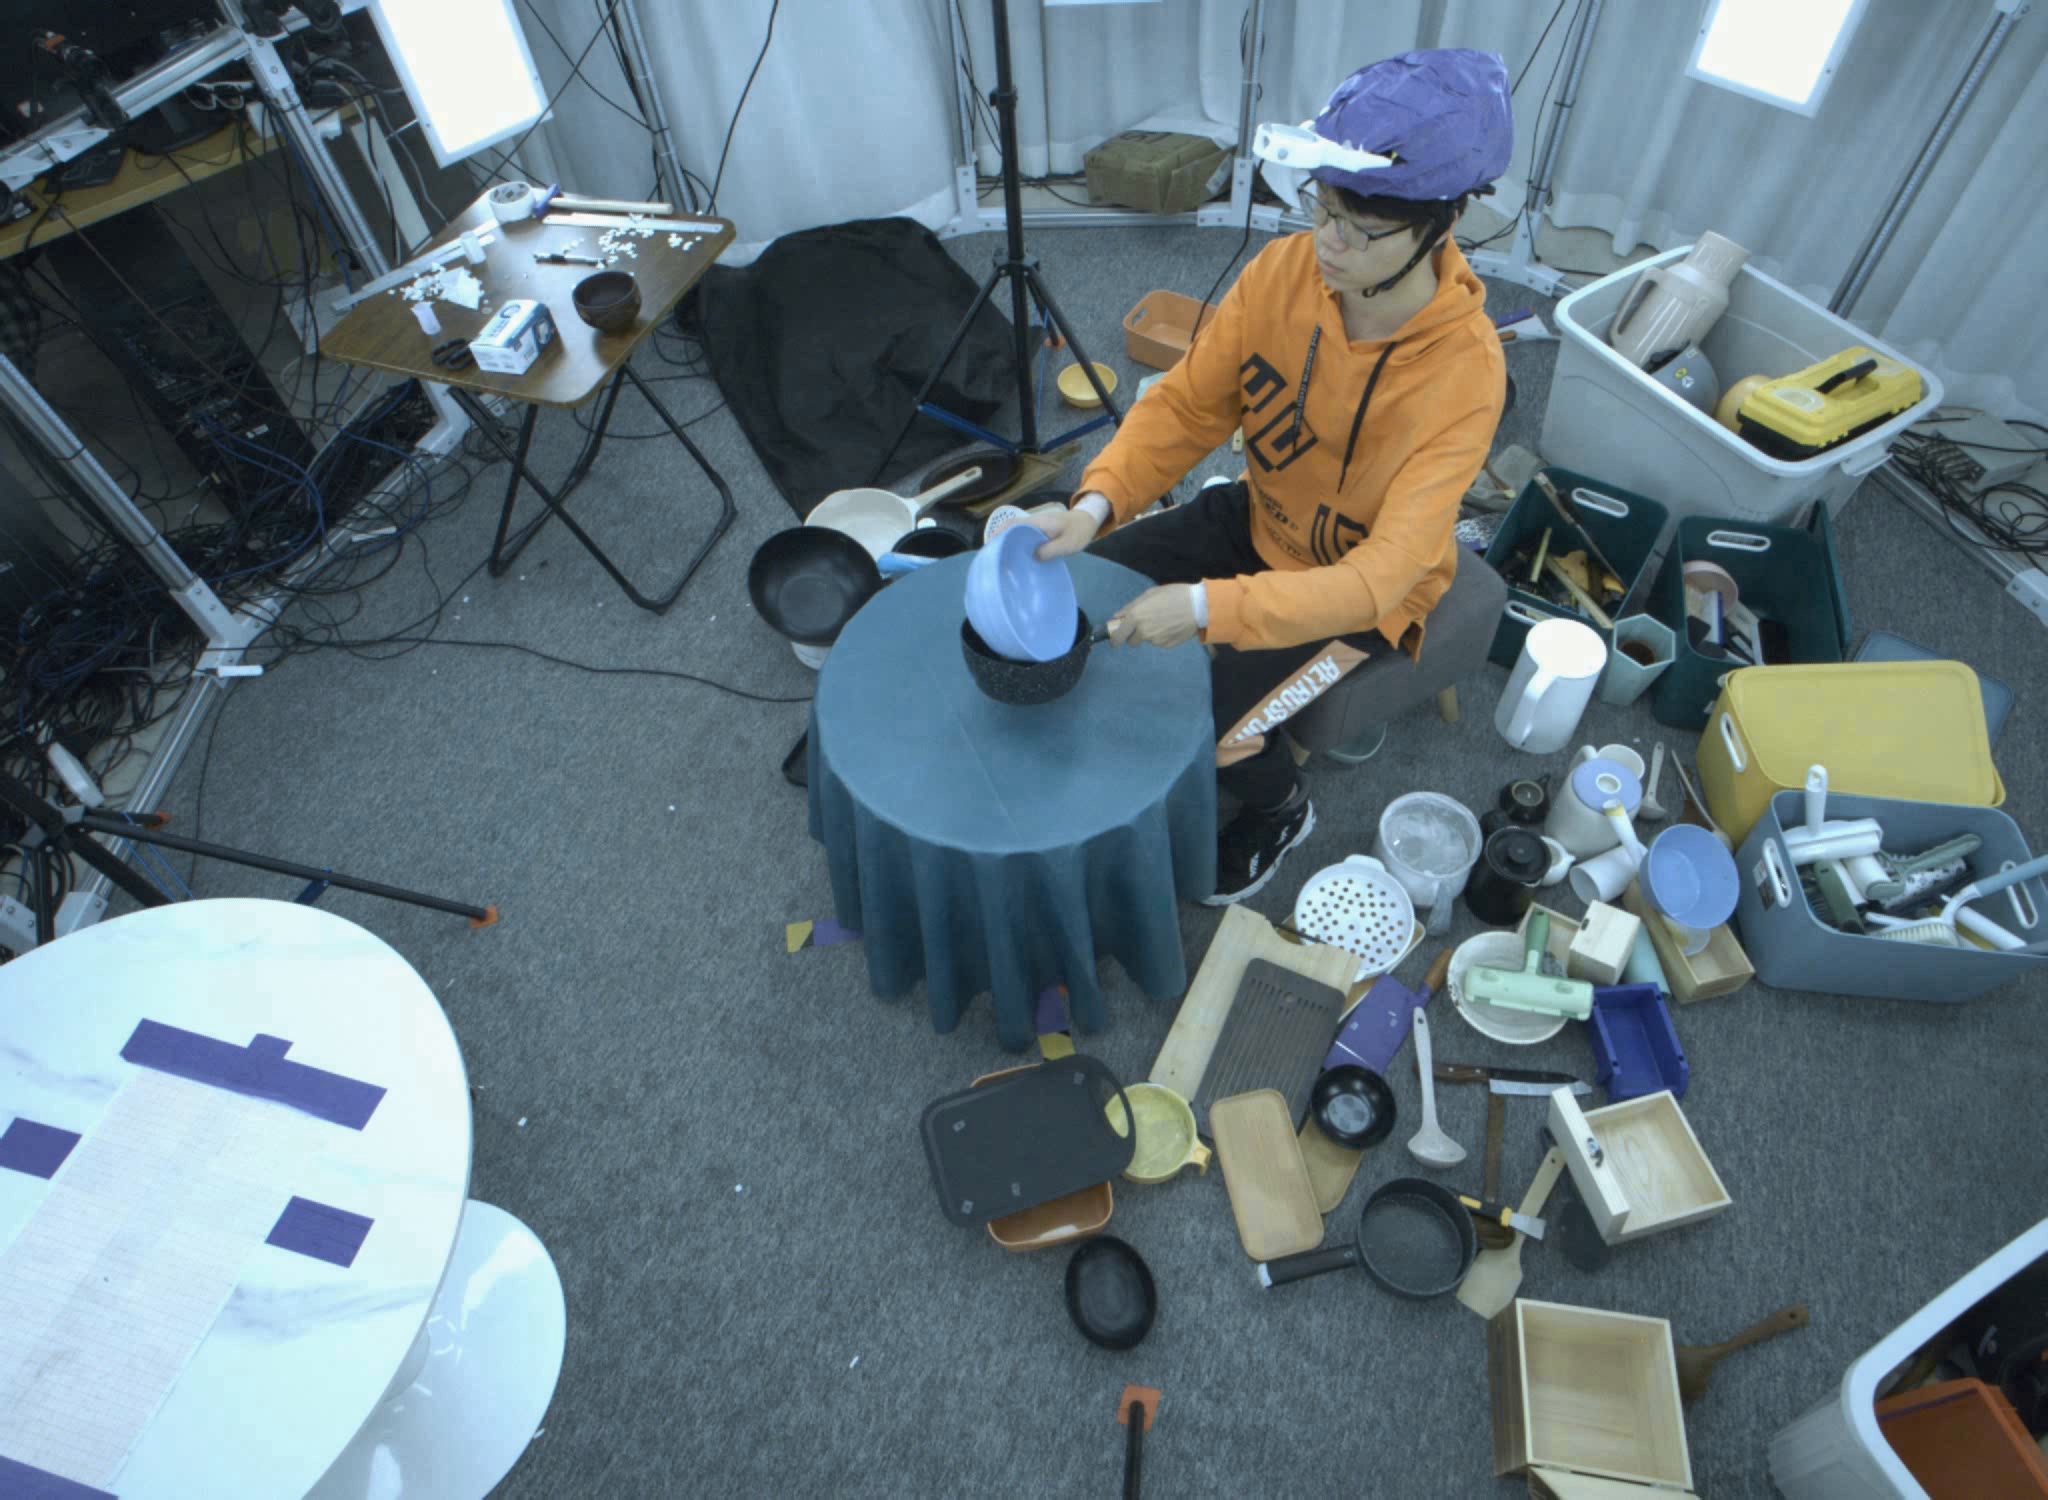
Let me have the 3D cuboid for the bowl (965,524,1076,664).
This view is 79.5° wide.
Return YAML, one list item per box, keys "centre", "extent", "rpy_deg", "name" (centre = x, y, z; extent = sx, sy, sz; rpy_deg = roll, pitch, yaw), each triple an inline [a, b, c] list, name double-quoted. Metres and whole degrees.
- centre: [-0.018, -0.207, 1.702]
  extent: [0.094, 0.201, 0.195]
  rpy_deg: [-8, 50, 31]
  name: "bowl"

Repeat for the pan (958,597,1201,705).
- centre: [0.080, -0.156, 1.751]
  extent: [0.343, 0.109, 0.204]
  rpy_deg: [-6, 38, -2]
  name: "pan"
